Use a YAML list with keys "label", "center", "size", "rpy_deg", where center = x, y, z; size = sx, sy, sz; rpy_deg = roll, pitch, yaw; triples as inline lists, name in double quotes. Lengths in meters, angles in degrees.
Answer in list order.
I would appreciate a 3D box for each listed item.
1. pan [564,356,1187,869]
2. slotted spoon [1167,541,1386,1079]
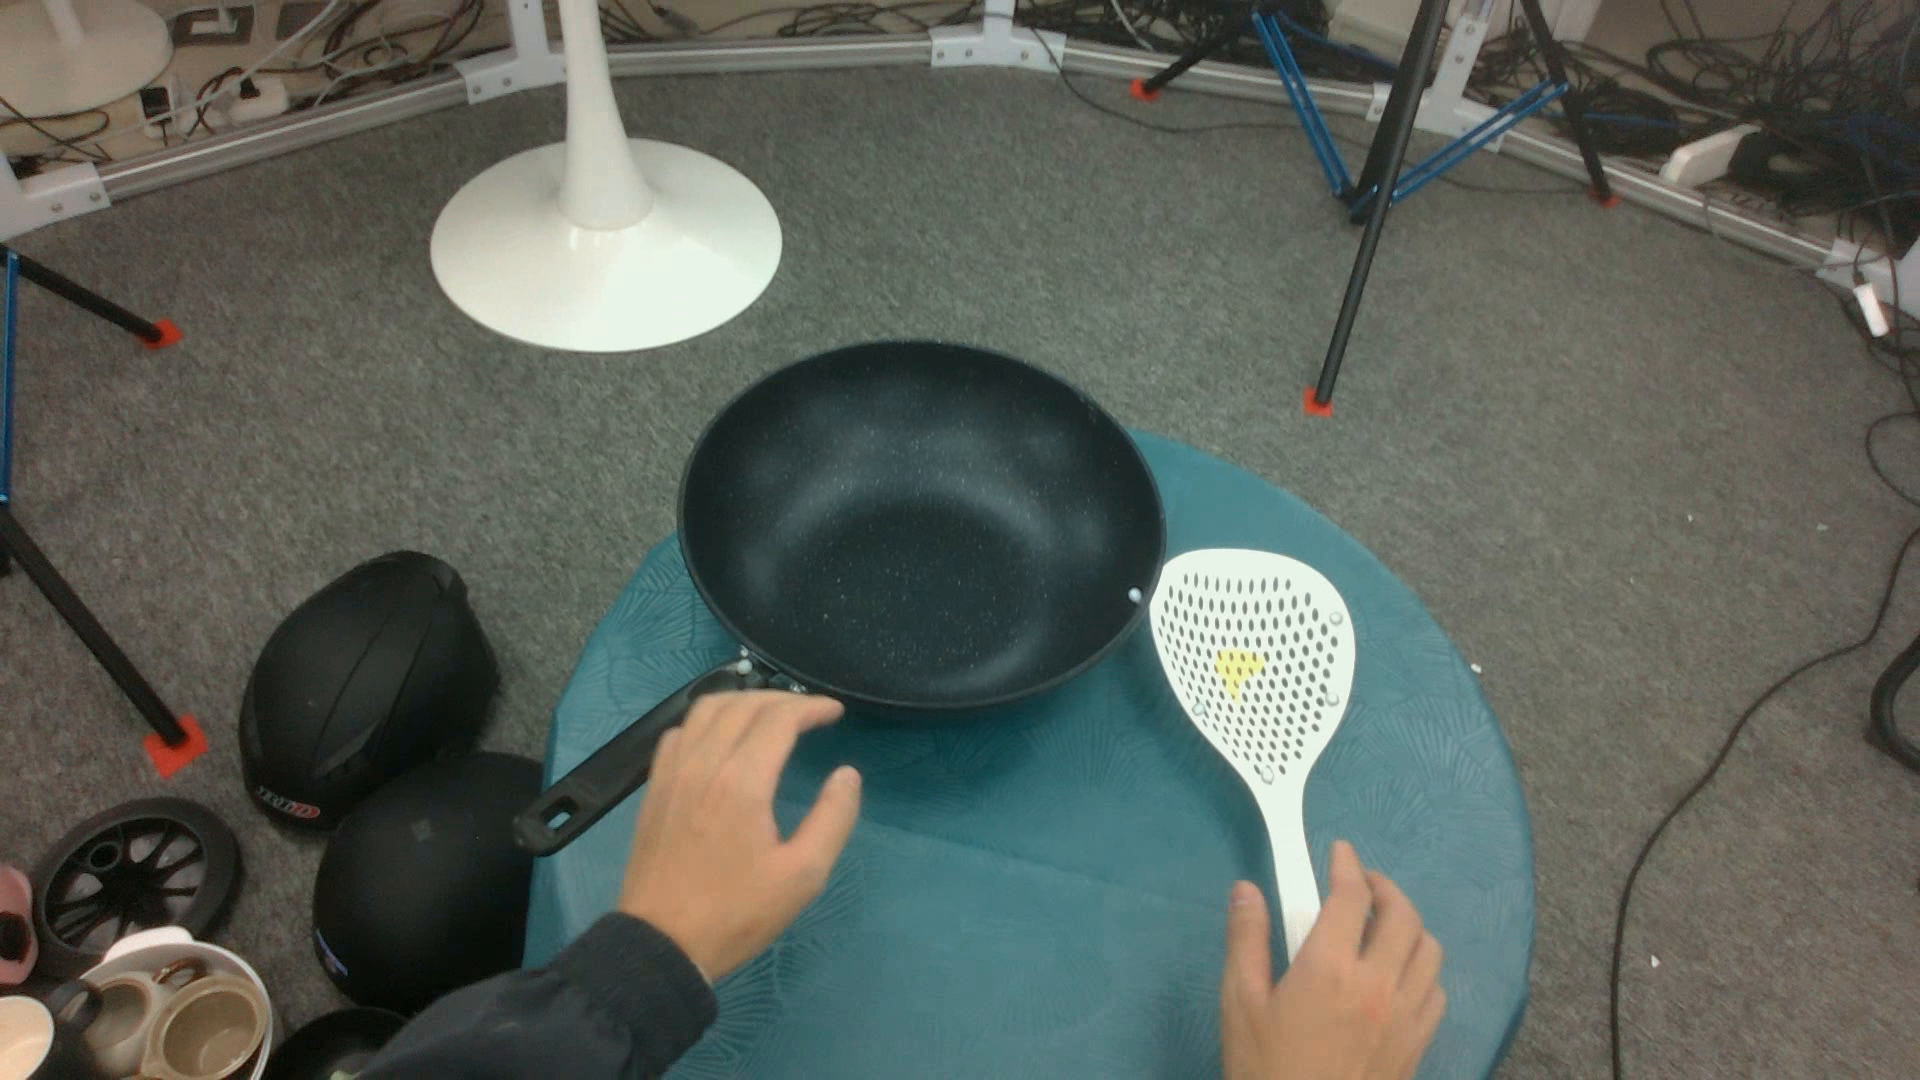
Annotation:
- label: "pan"
  center: [-0.057, 0.051, 0.861]
  size: [0.310, 0.111, 0.479]
  rpy_deg: [28, 52, 22]
- label: "slotted spoon"
  center: [0.207, 0.147, 0.834]
  size: [0.137, 0.050, 0.349]
  rpy_deg: [1, 48, -5]
